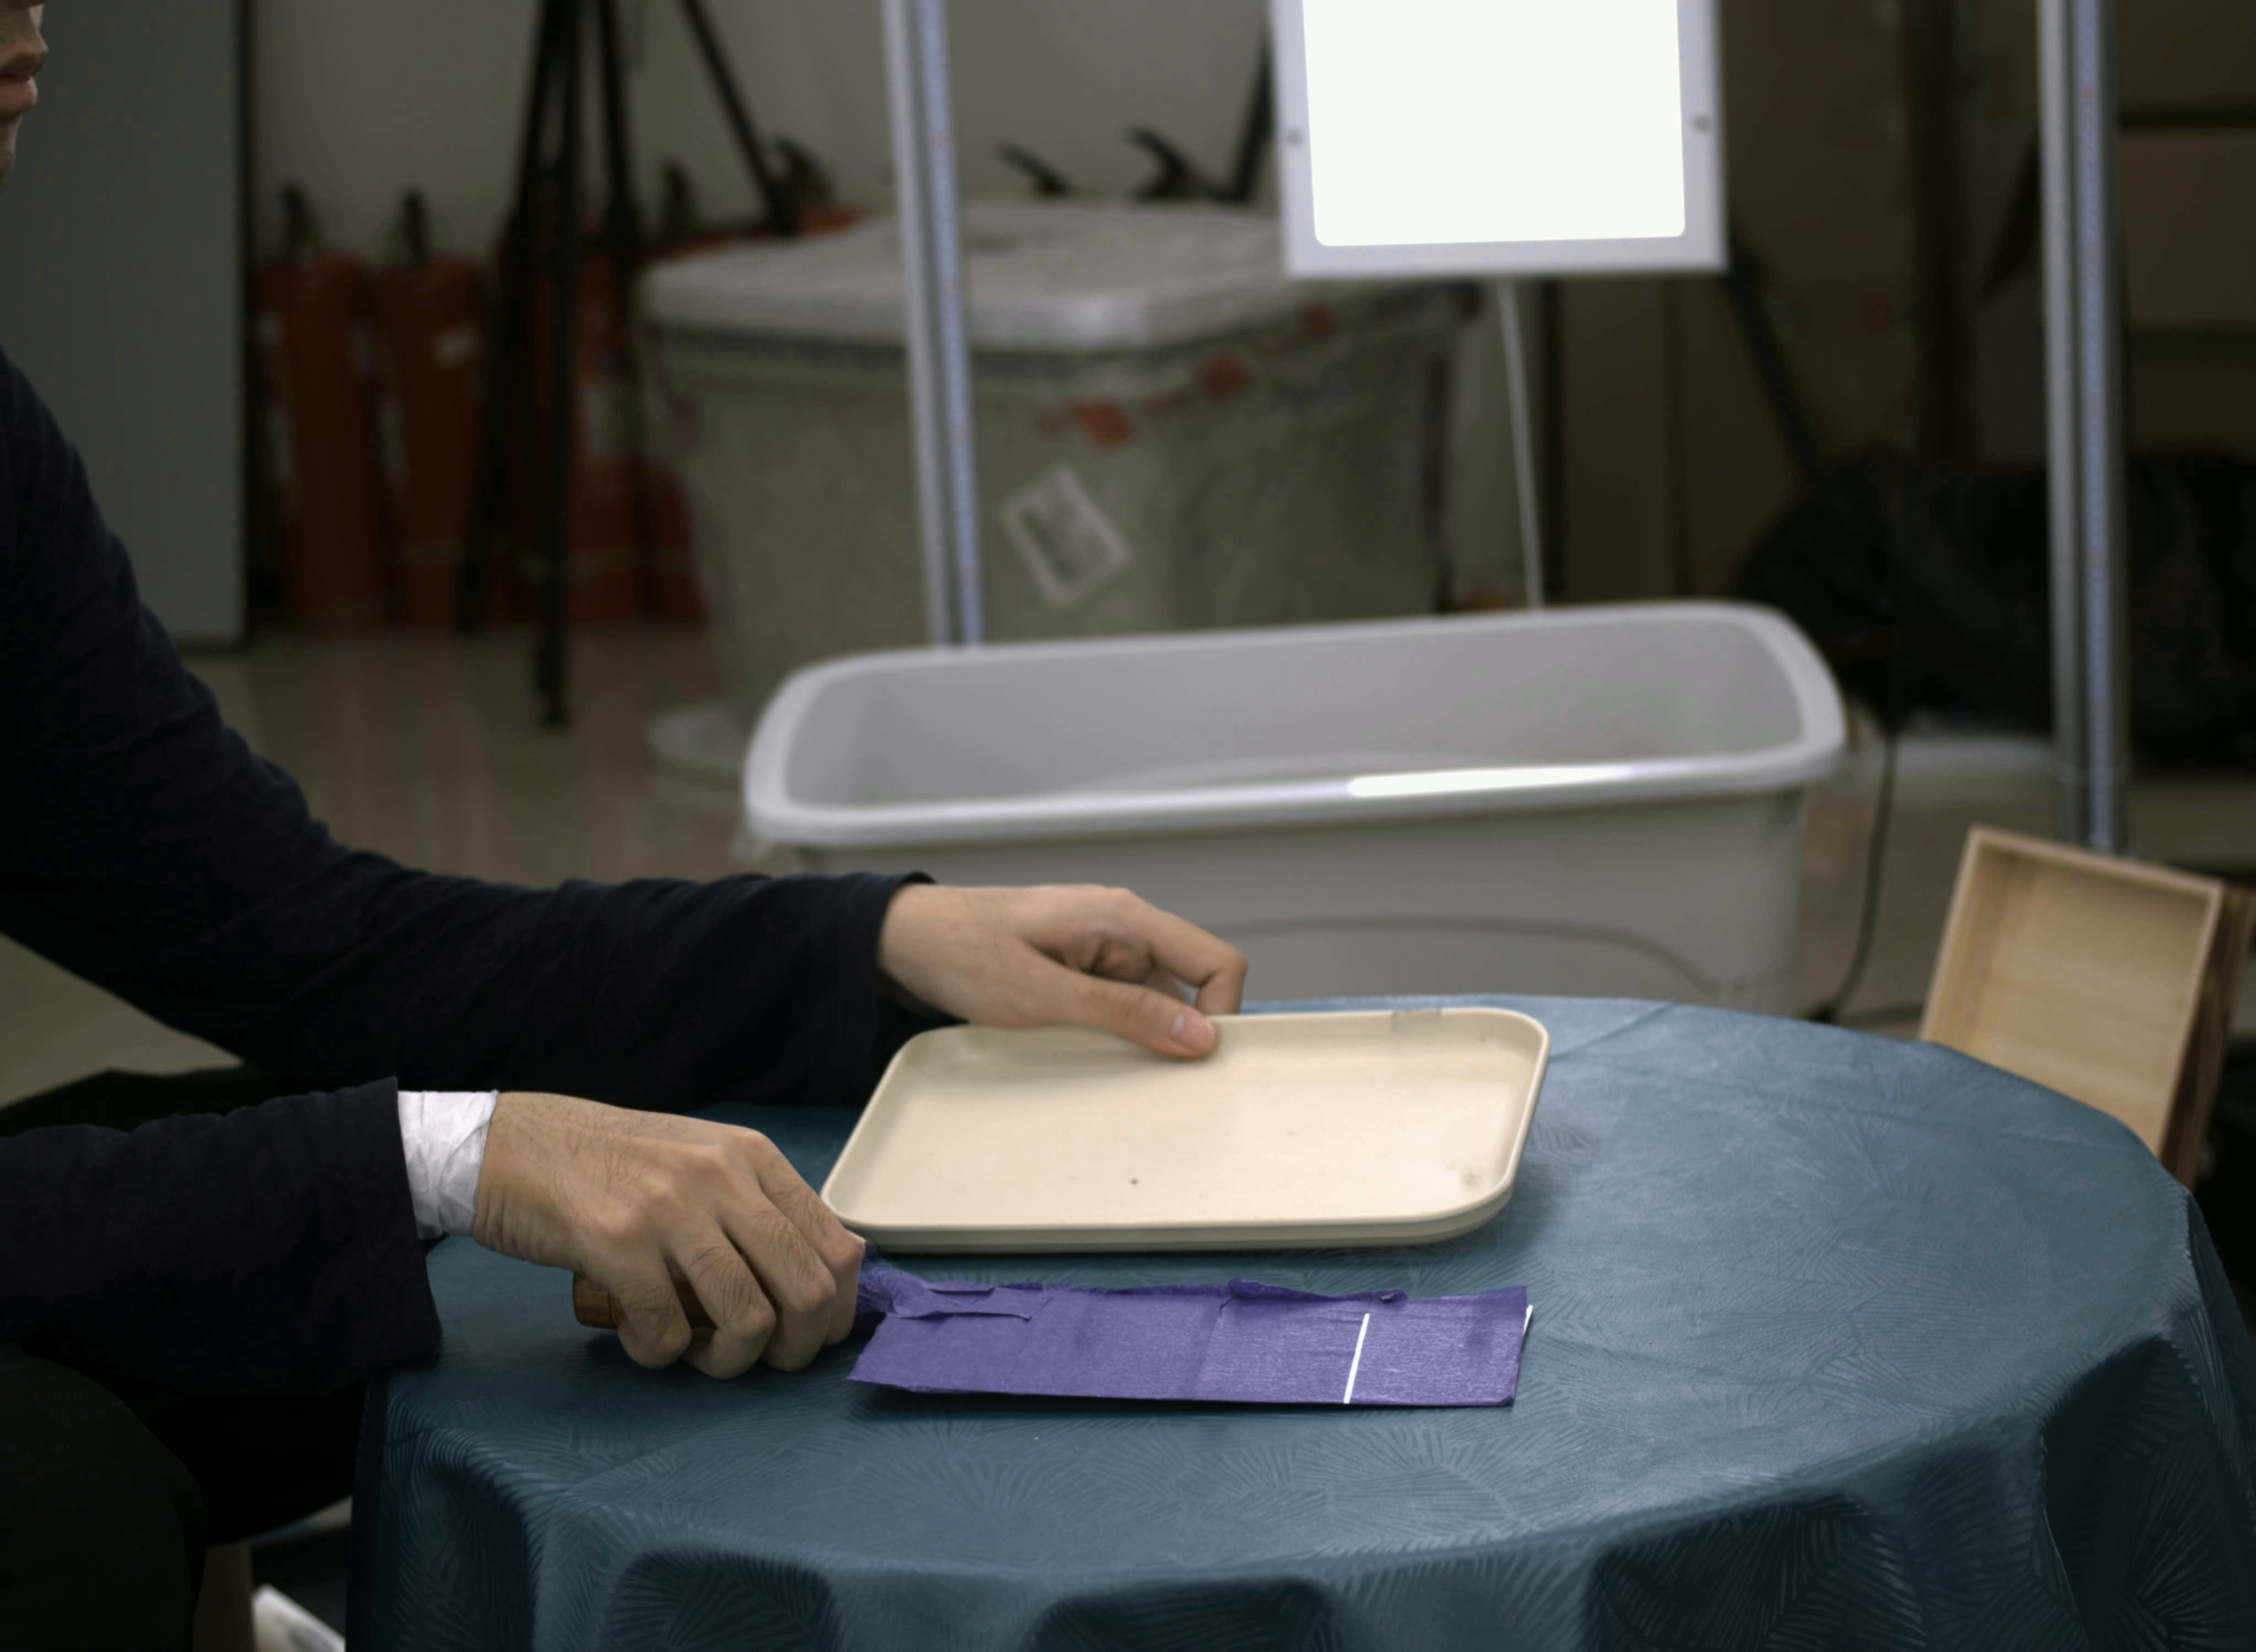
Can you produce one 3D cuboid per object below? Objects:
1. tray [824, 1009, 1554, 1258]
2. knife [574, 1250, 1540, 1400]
[{"bbox_3d":[0.024,0.107,1.898,0.242,0.017,0.169,-2,22,14],"label":"tray"},{"bbox_3d":[-0.028,0.157,1.734,0.317,0.032,0.102,-2,14,12],"label":"knife"}]
